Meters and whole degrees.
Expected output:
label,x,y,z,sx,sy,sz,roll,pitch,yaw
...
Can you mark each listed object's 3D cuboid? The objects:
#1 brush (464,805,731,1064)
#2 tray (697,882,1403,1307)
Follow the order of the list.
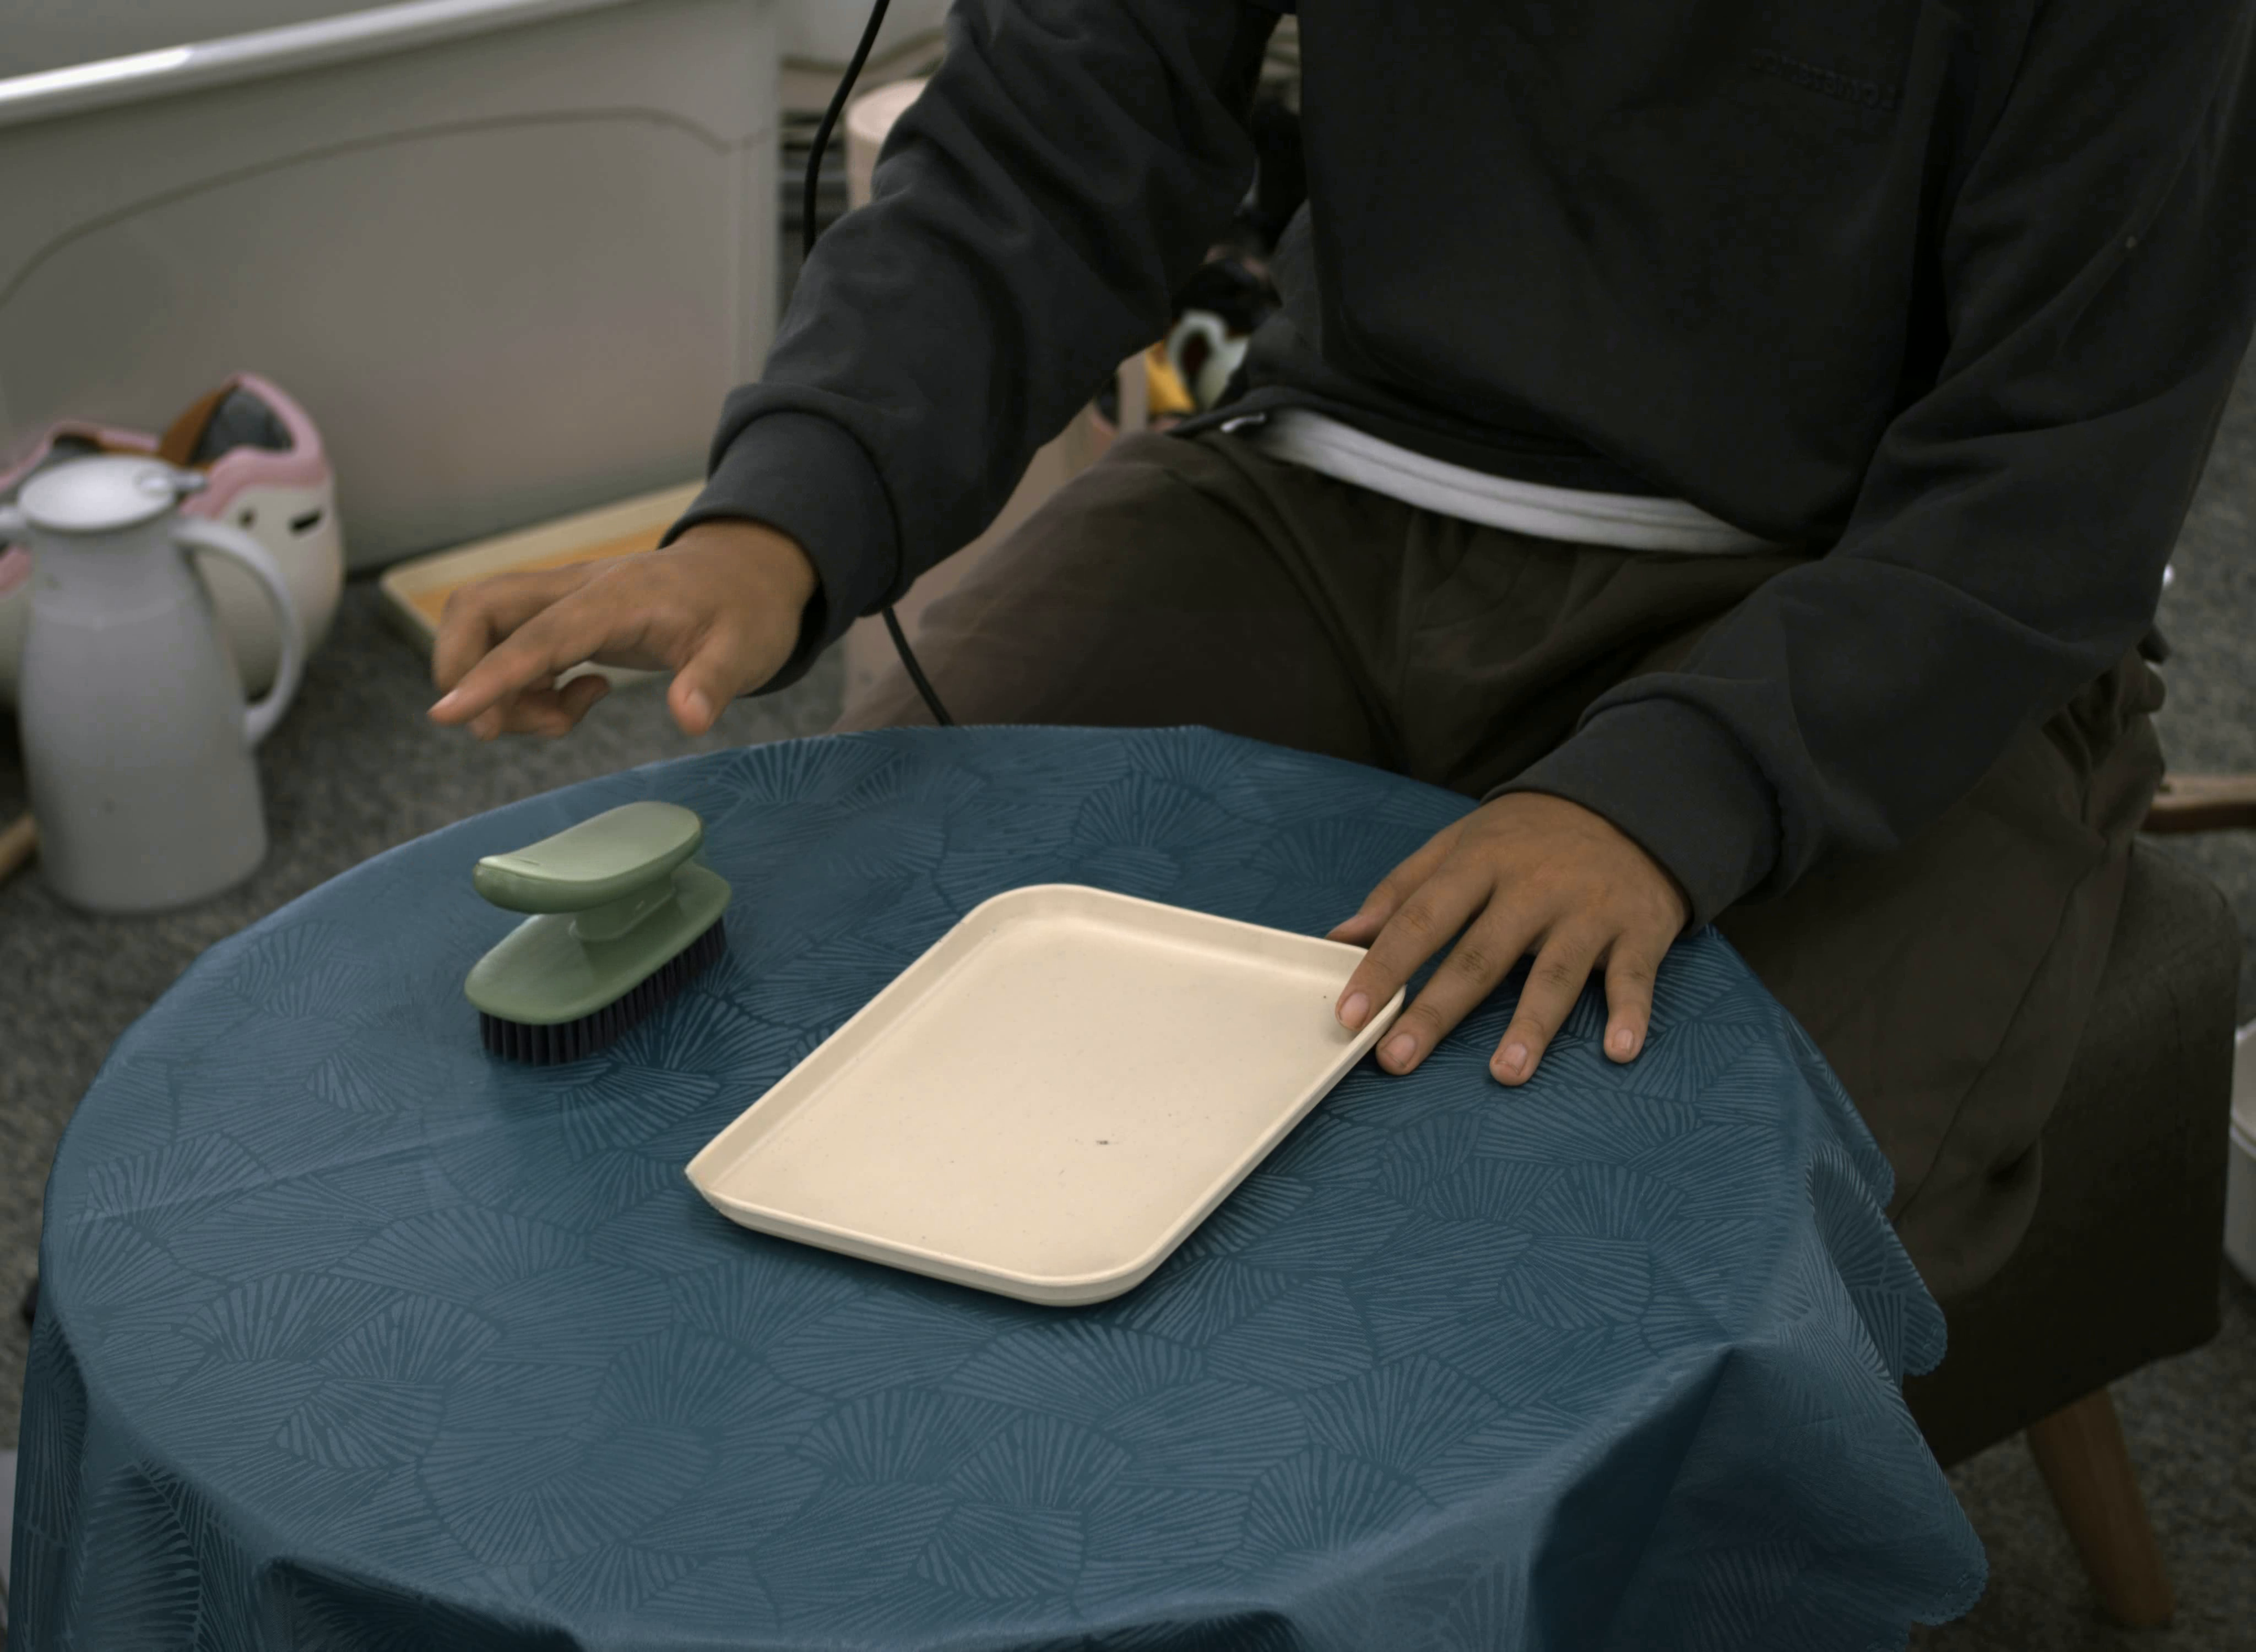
label,x,y,z,sx,sy,sz,roll,pitch,yaw
brush,-0.188,0.037,1.988,0.059,0.075,0.124,13,17,26
tray,-0.023,0.090,1.909,0.170,0.017,0.243,12,31,26
